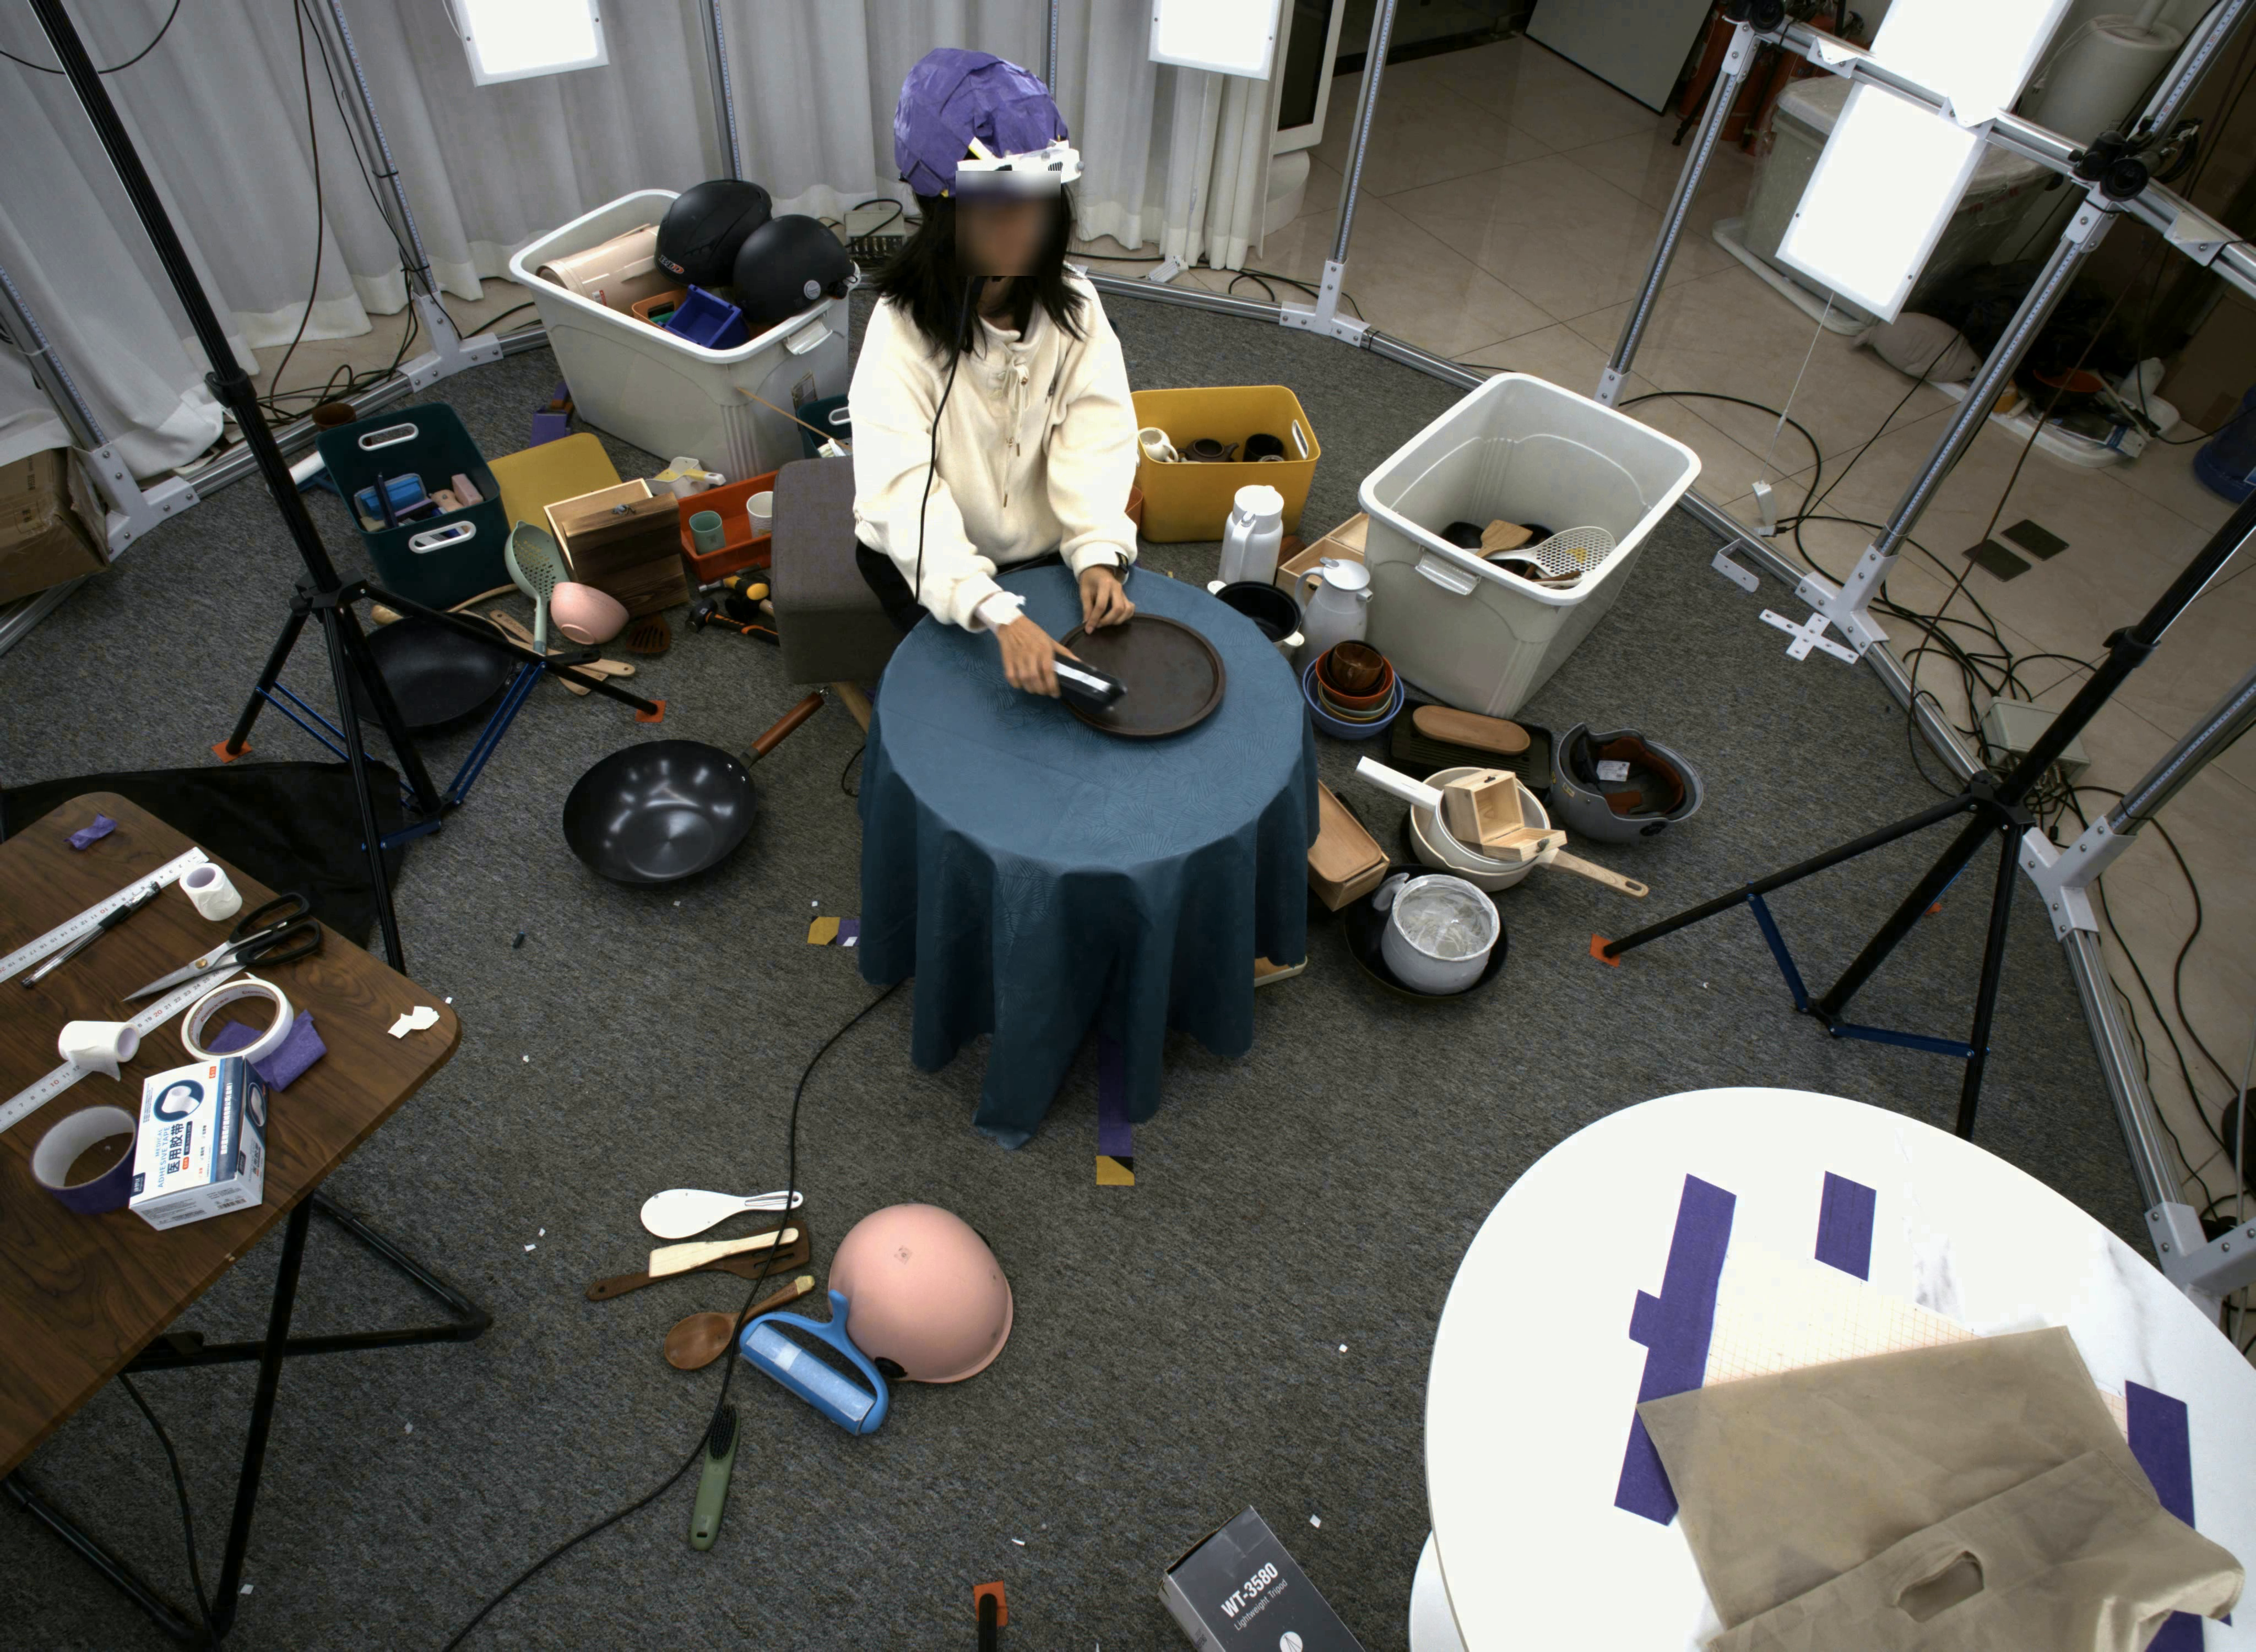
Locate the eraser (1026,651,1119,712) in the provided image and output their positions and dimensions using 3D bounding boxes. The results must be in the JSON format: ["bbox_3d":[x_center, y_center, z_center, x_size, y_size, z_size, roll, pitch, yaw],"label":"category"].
[{"bbox_3d":[-0.076,-0.201,1.774,0.127,0.030,0.054,24,54,26],"label":"eraser"}]

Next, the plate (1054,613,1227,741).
[{"bbox_3d":[0.015,-0.216,1.842,0.254,0.028,0.261,2,50,-3],"label":"plate"}]
